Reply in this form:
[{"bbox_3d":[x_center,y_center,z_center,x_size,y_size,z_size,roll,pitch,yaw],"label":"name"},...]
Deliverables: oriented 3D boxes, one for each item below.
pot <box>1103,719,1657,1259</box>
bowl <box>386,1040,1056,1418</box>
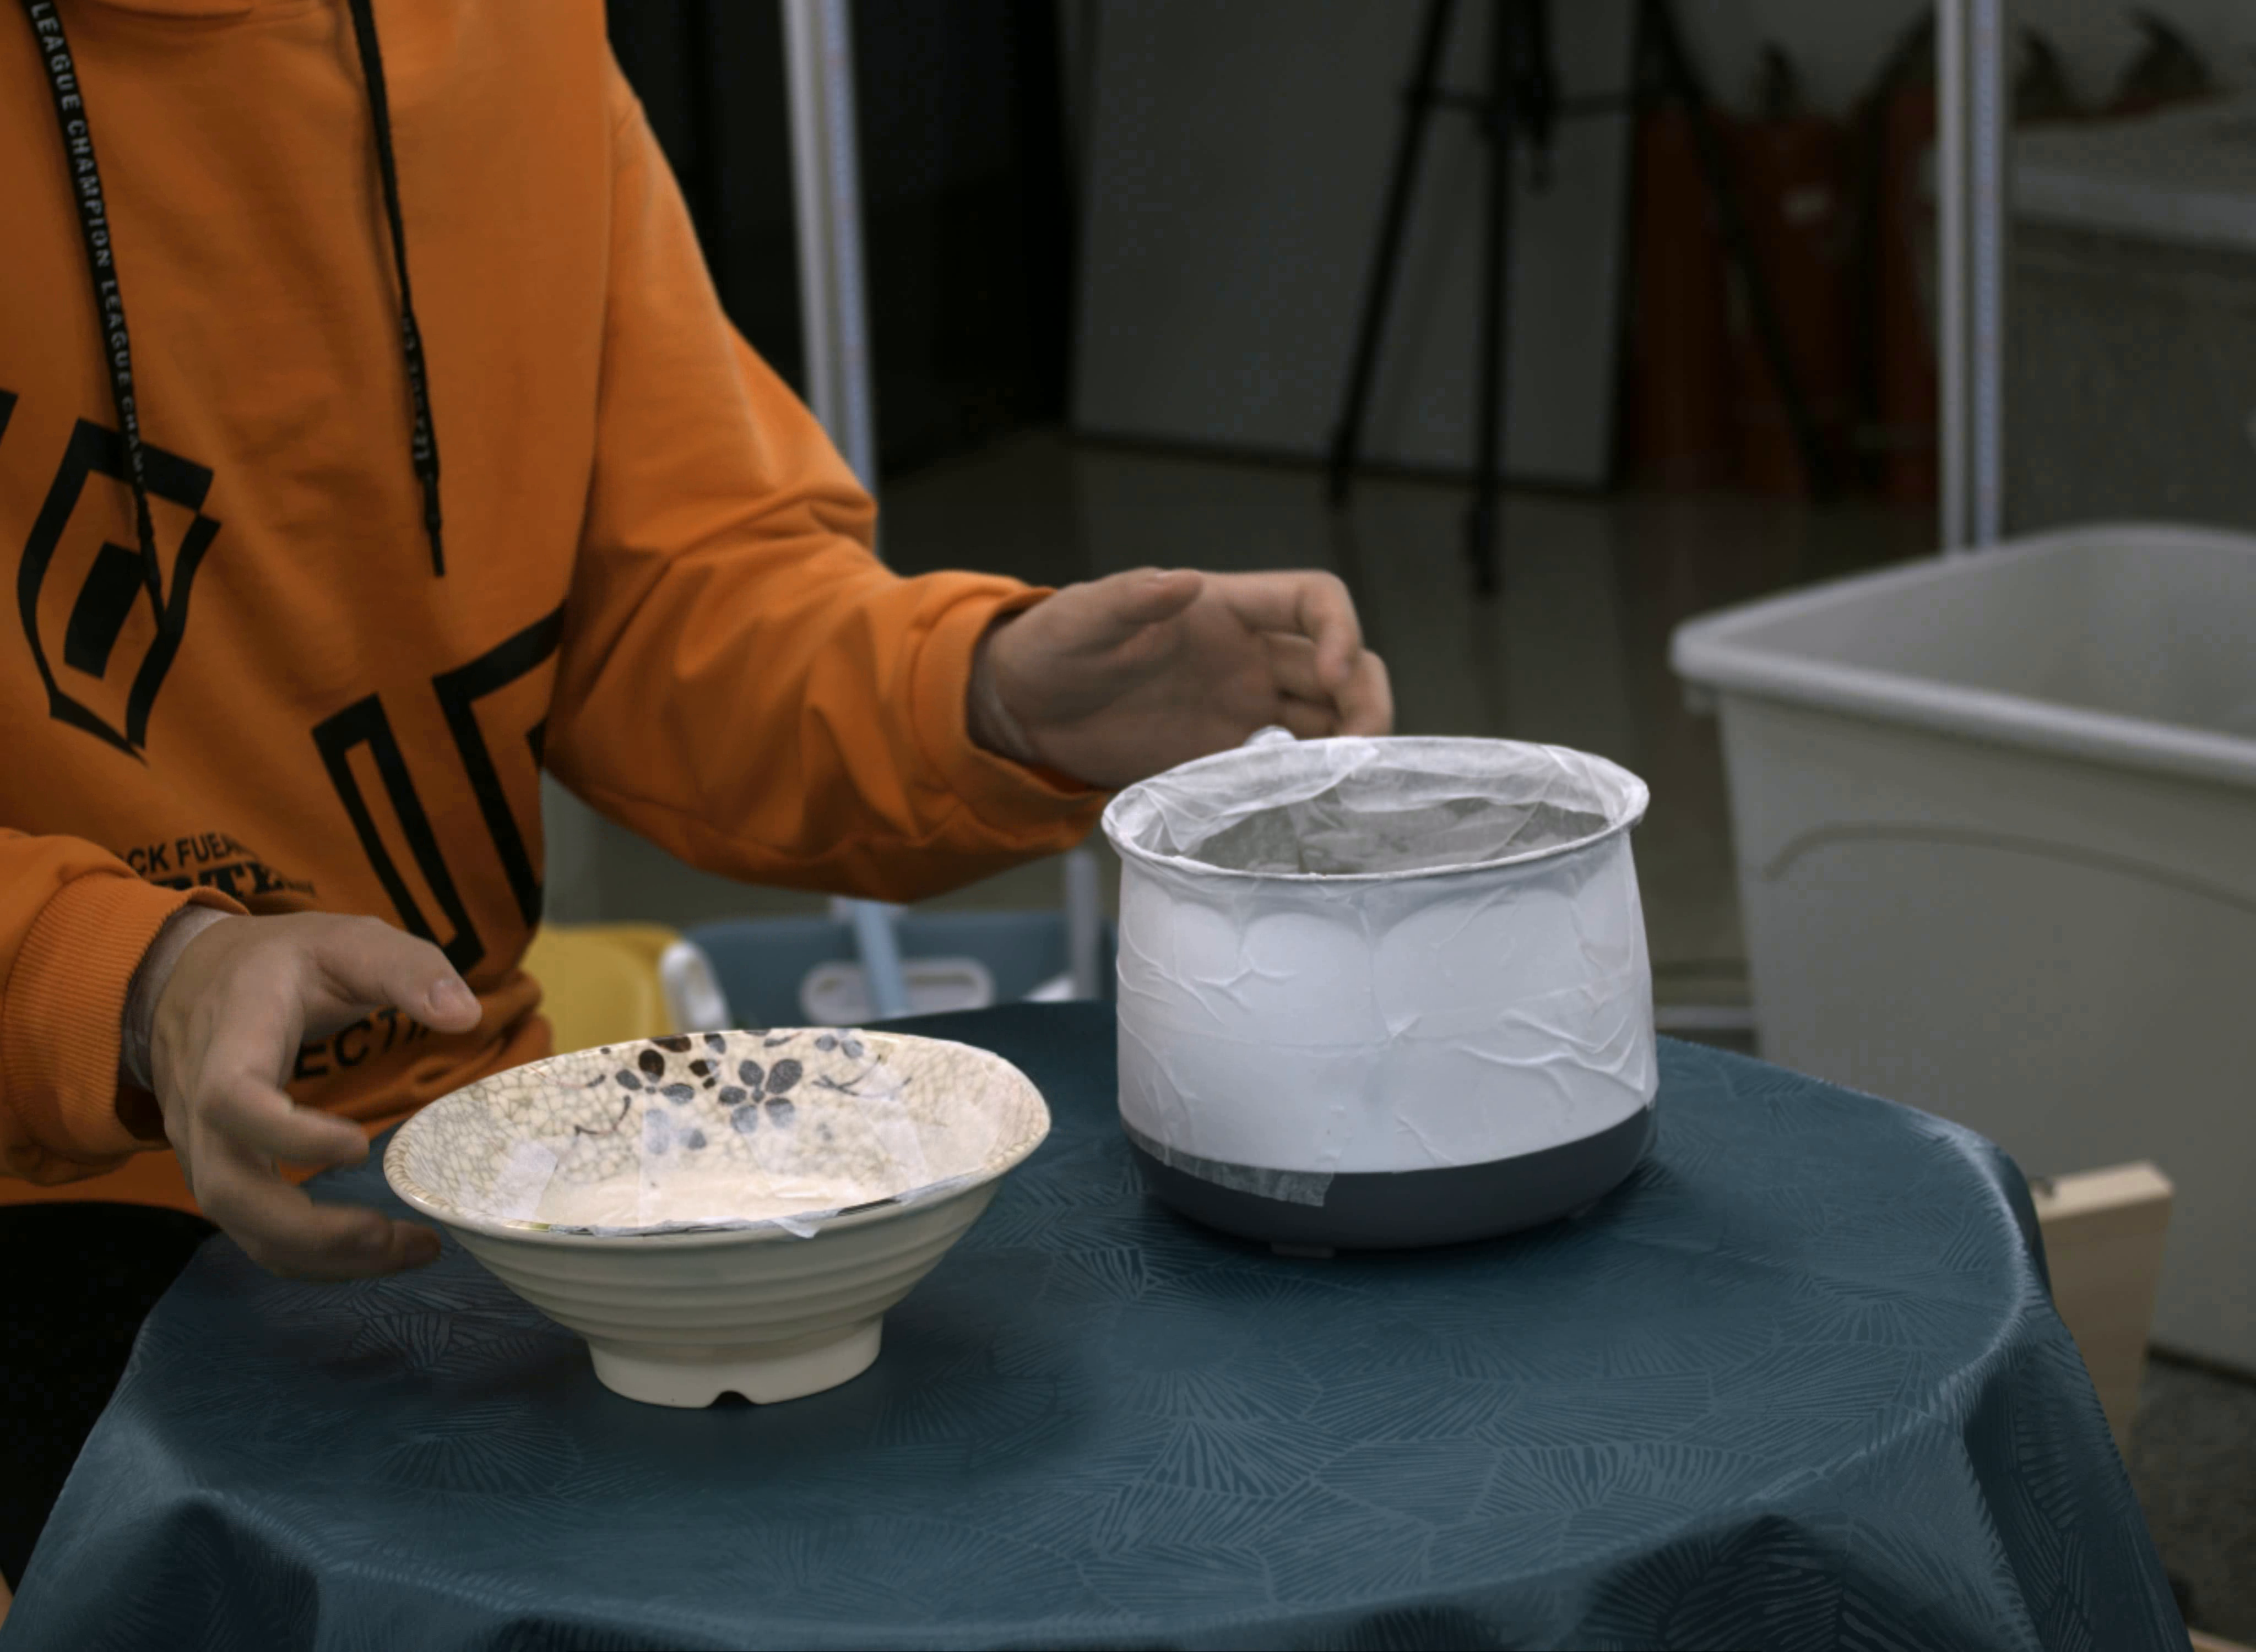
[{"bbox_3d":[0.073,0.047,1.761,0.175,0.138,0.236,-8,14,-17],"label":"pot"},{"bbox_3d":[-0.118,0.127,1.626,0.201,0.079,0.204,-6,12,0],"label":"bowl"}]
